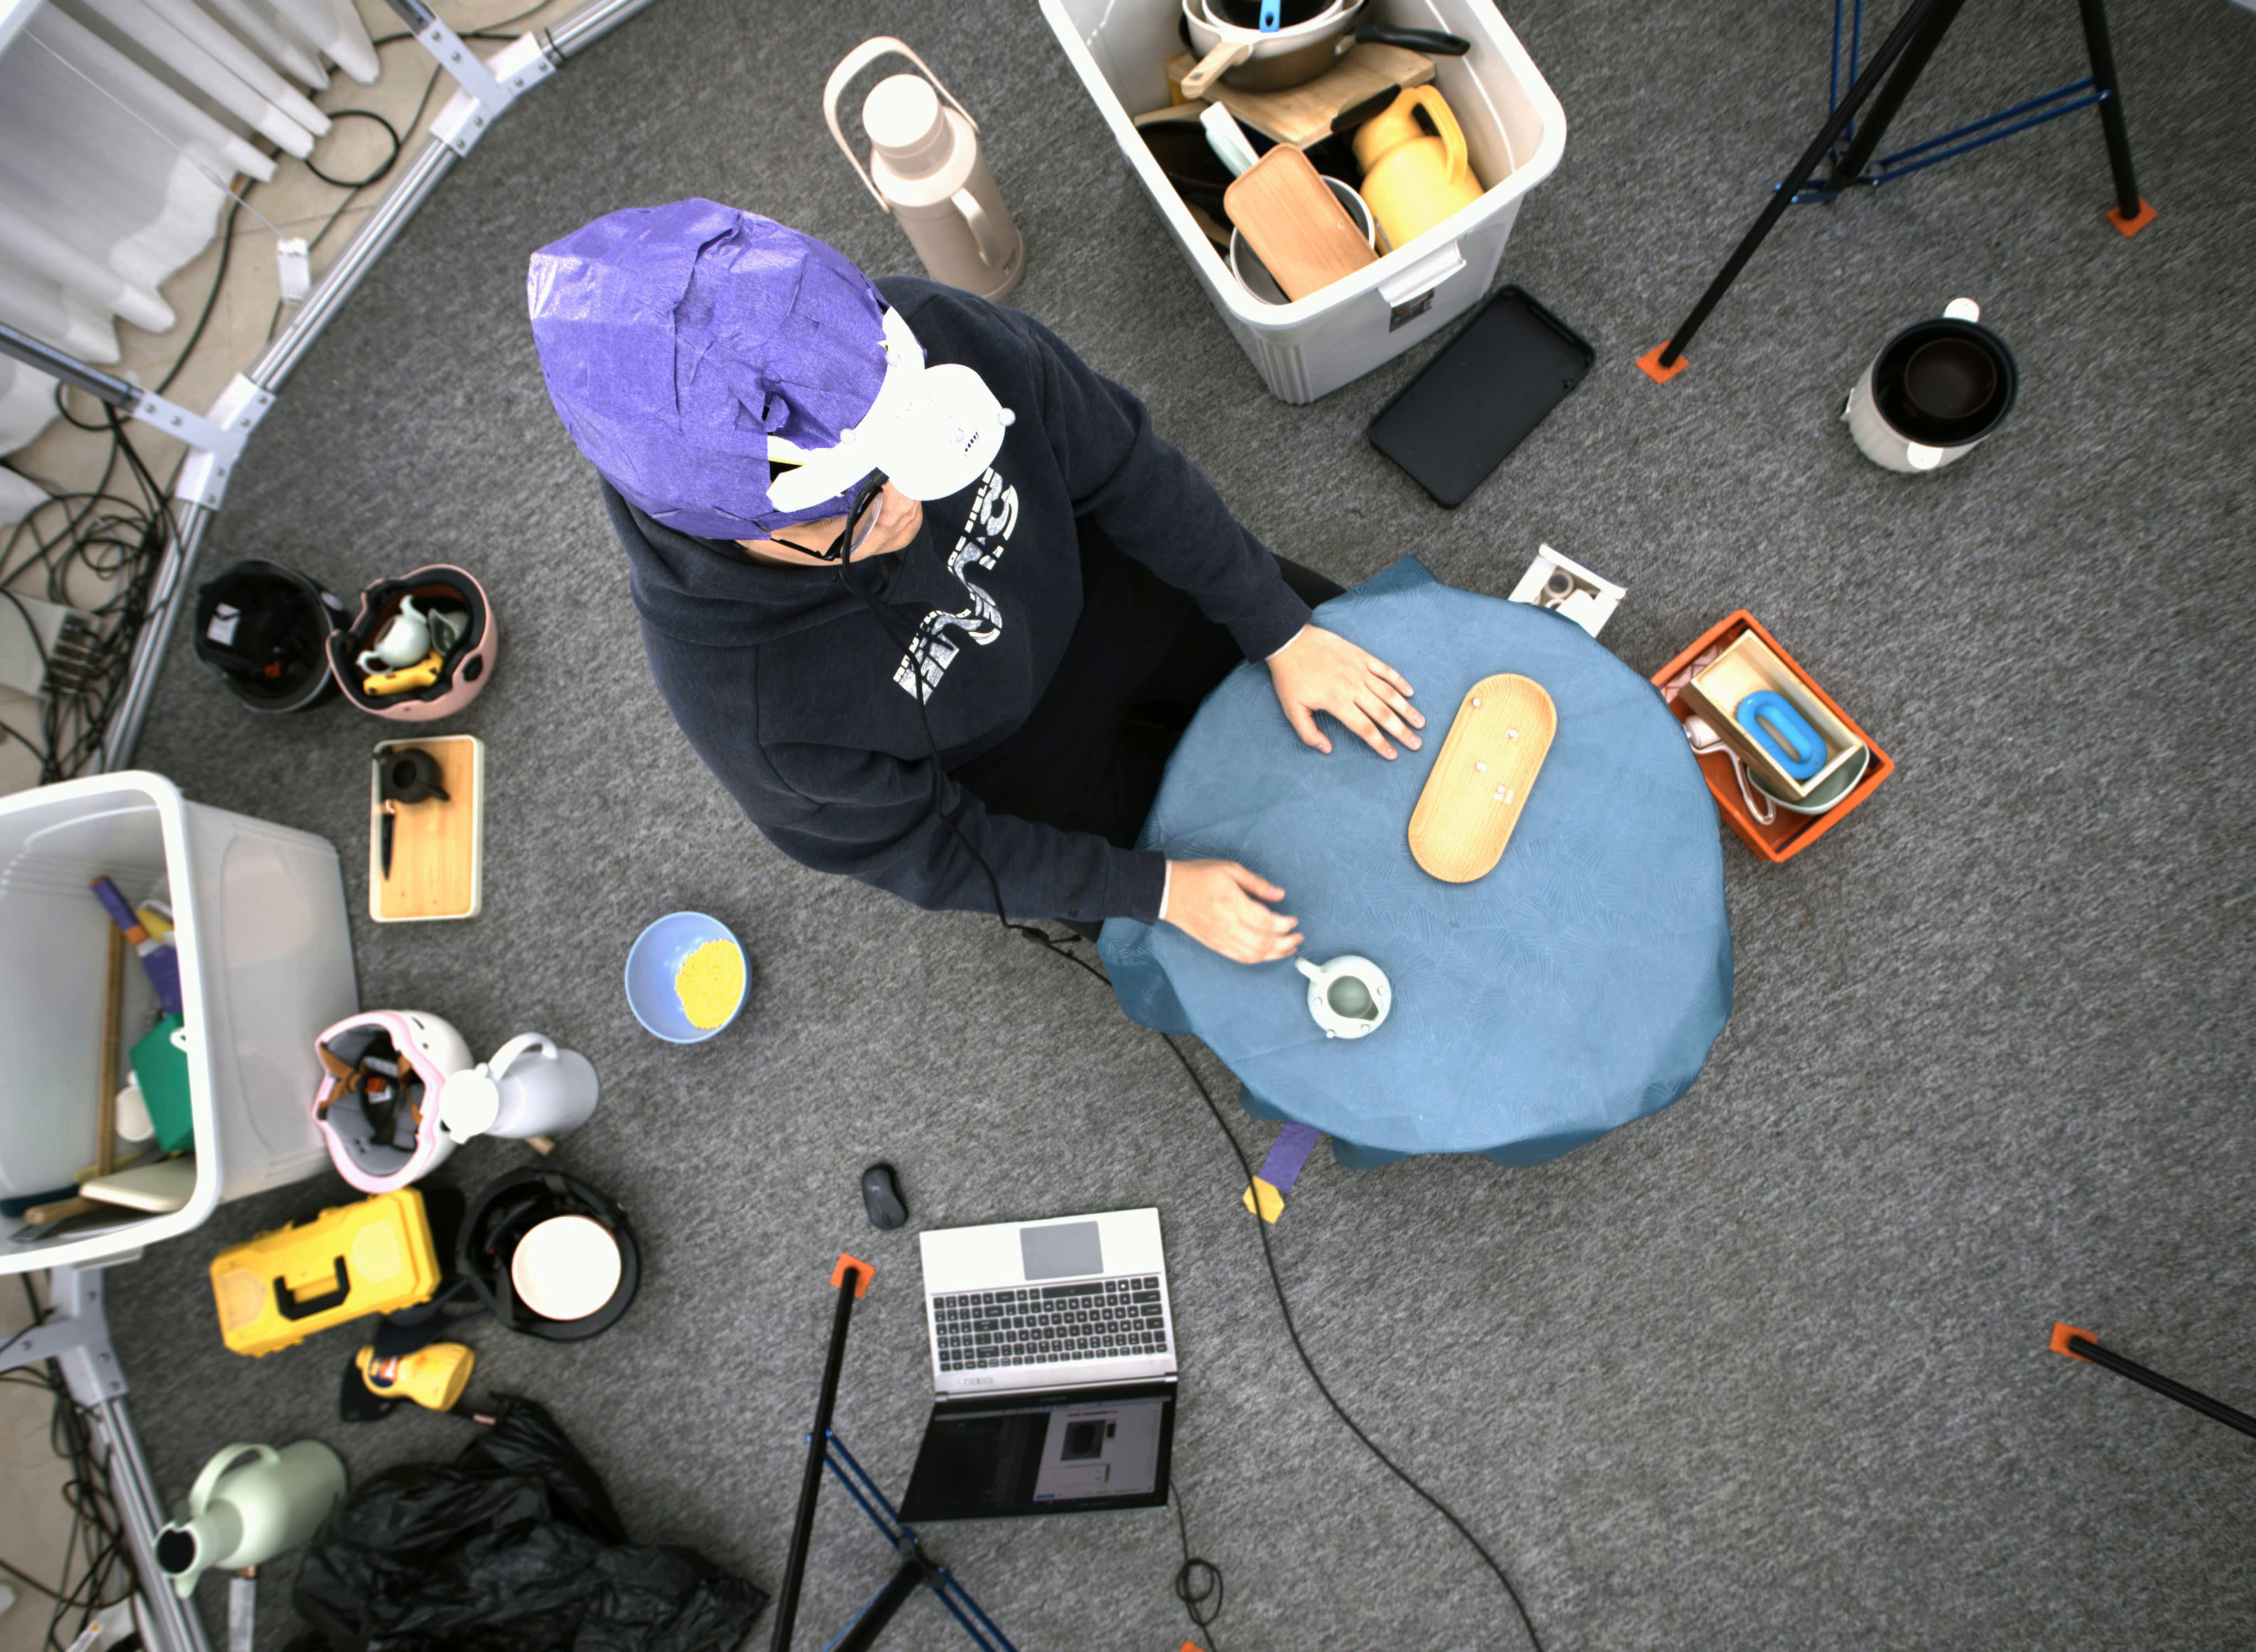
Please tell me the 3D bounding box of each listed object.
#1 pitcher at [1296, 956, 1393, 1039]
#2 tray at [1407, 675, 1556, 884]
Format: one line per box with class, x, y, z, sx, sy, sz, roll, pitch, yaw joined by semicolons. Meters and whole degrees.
pitcher;0.221;0.170;1.436;0.107;0.060;0.086;32;91;13
tray;0.370;-0.051;1.441;0.101;0.020;0.231;24;93;13
